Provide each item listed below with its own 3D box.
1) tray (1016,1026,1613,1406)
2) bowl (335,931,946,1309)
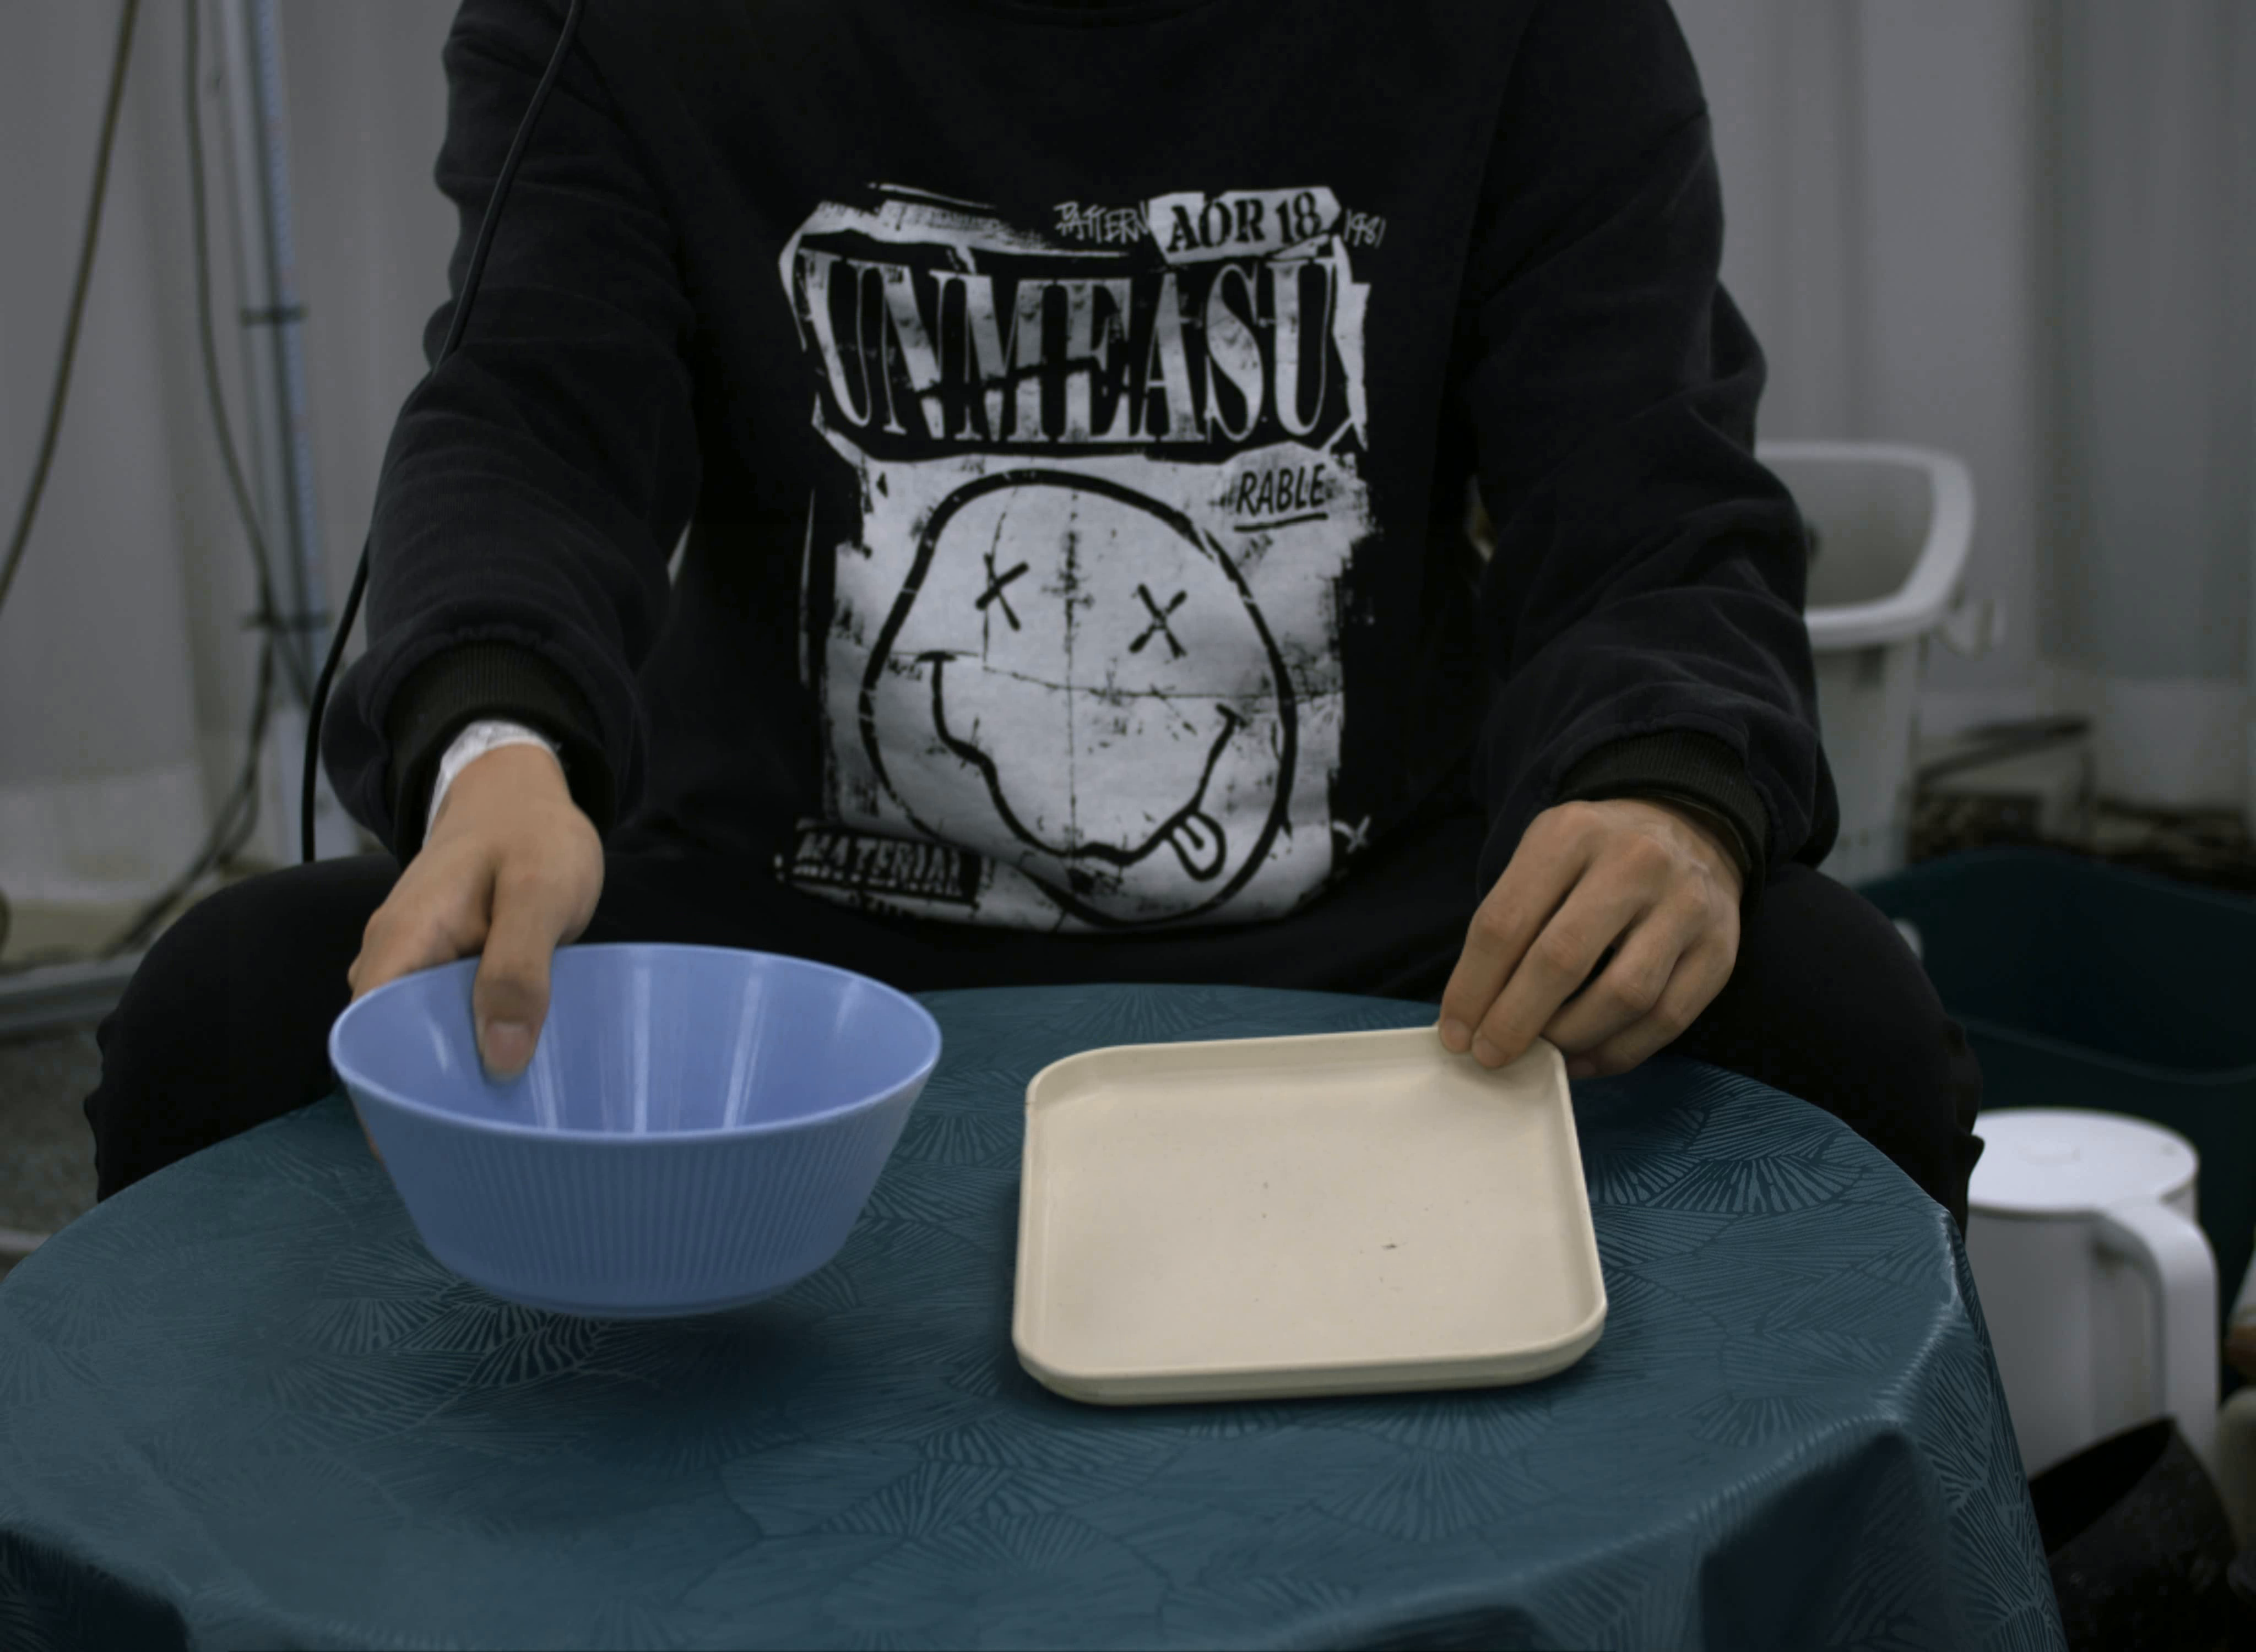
[{"bbox_3d":[0.053,0.115,1.631,0.171,0.017,0.242,-2,20,1],"label":"tray"},{"bbox_3d":[-0.141,0.087,1.578,0.175,0.070,0.177,3,17,-1],"label":"bowl"}]
